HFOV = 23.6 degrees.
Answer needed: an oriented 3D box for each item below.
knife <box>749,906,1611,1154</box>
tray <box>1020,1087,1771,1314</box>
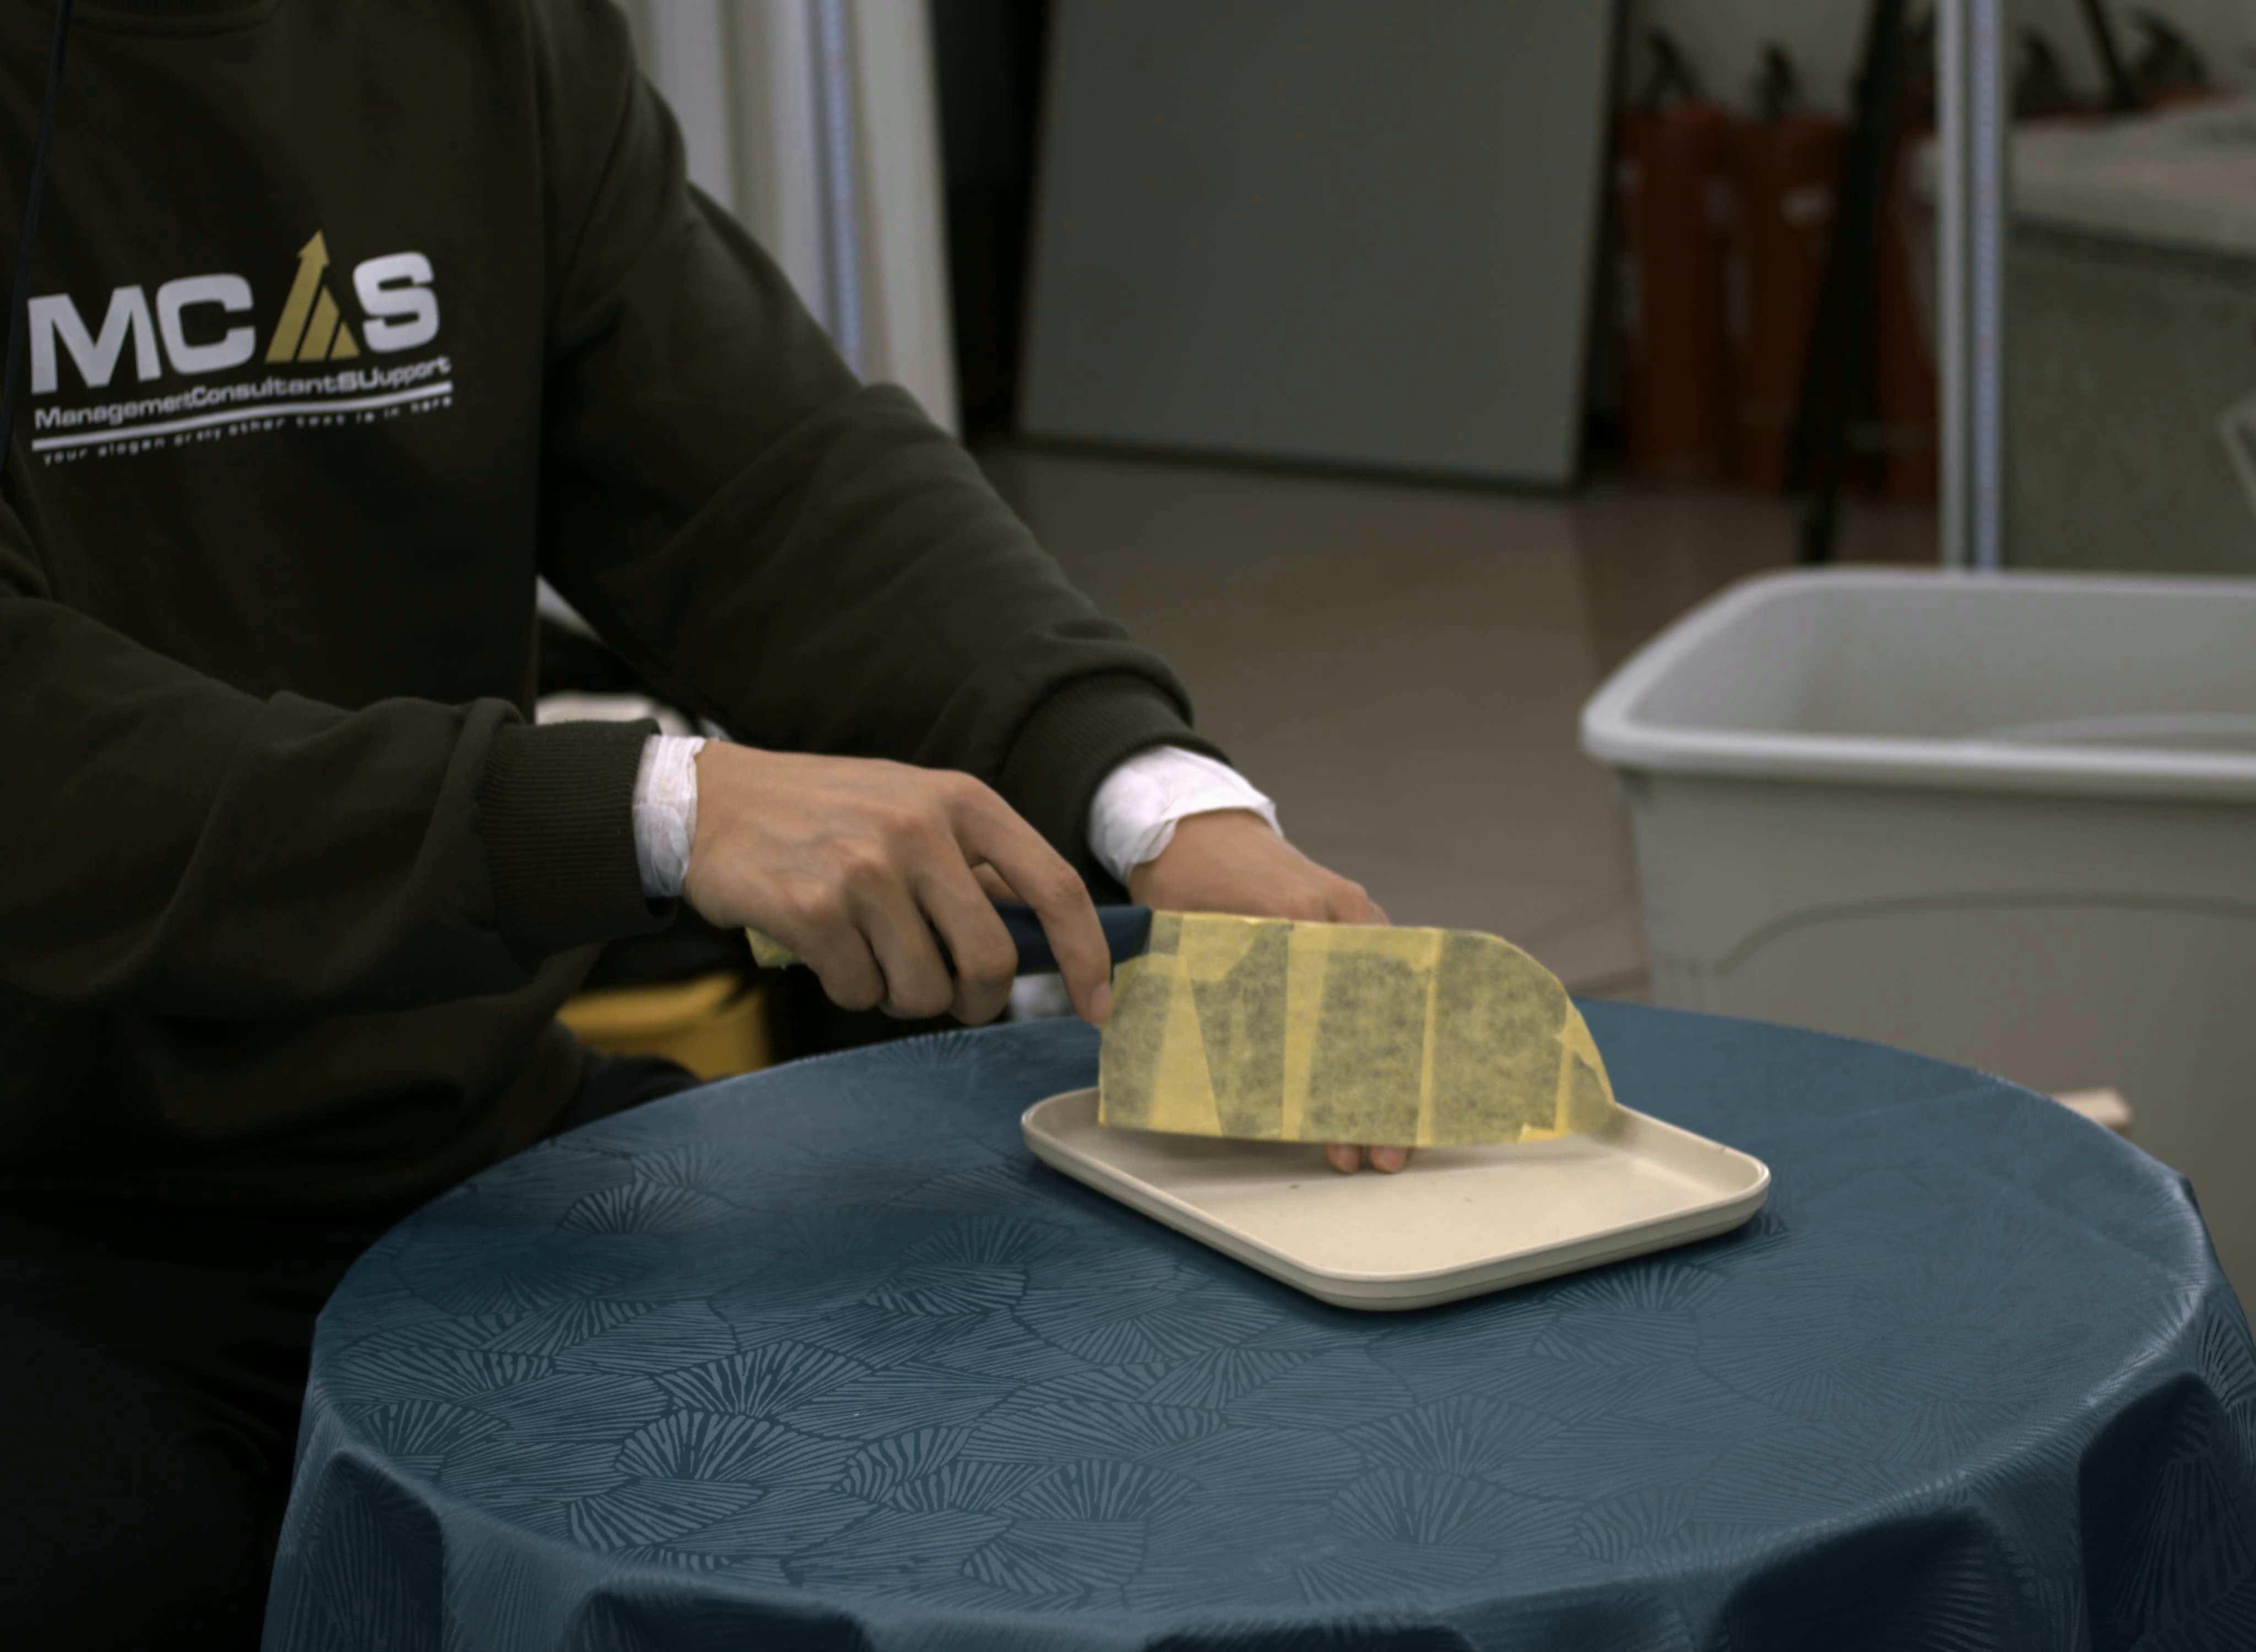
[{"bbox_3d":[0.017,0.065,1.761,0.286,0.082,0.027,6,-3,2],"label":"knife"},{"bbox_3d":[0.084,0.112,1.751,0.167,0.017,0.242,-12,15,-27],"label":"tray"}]
